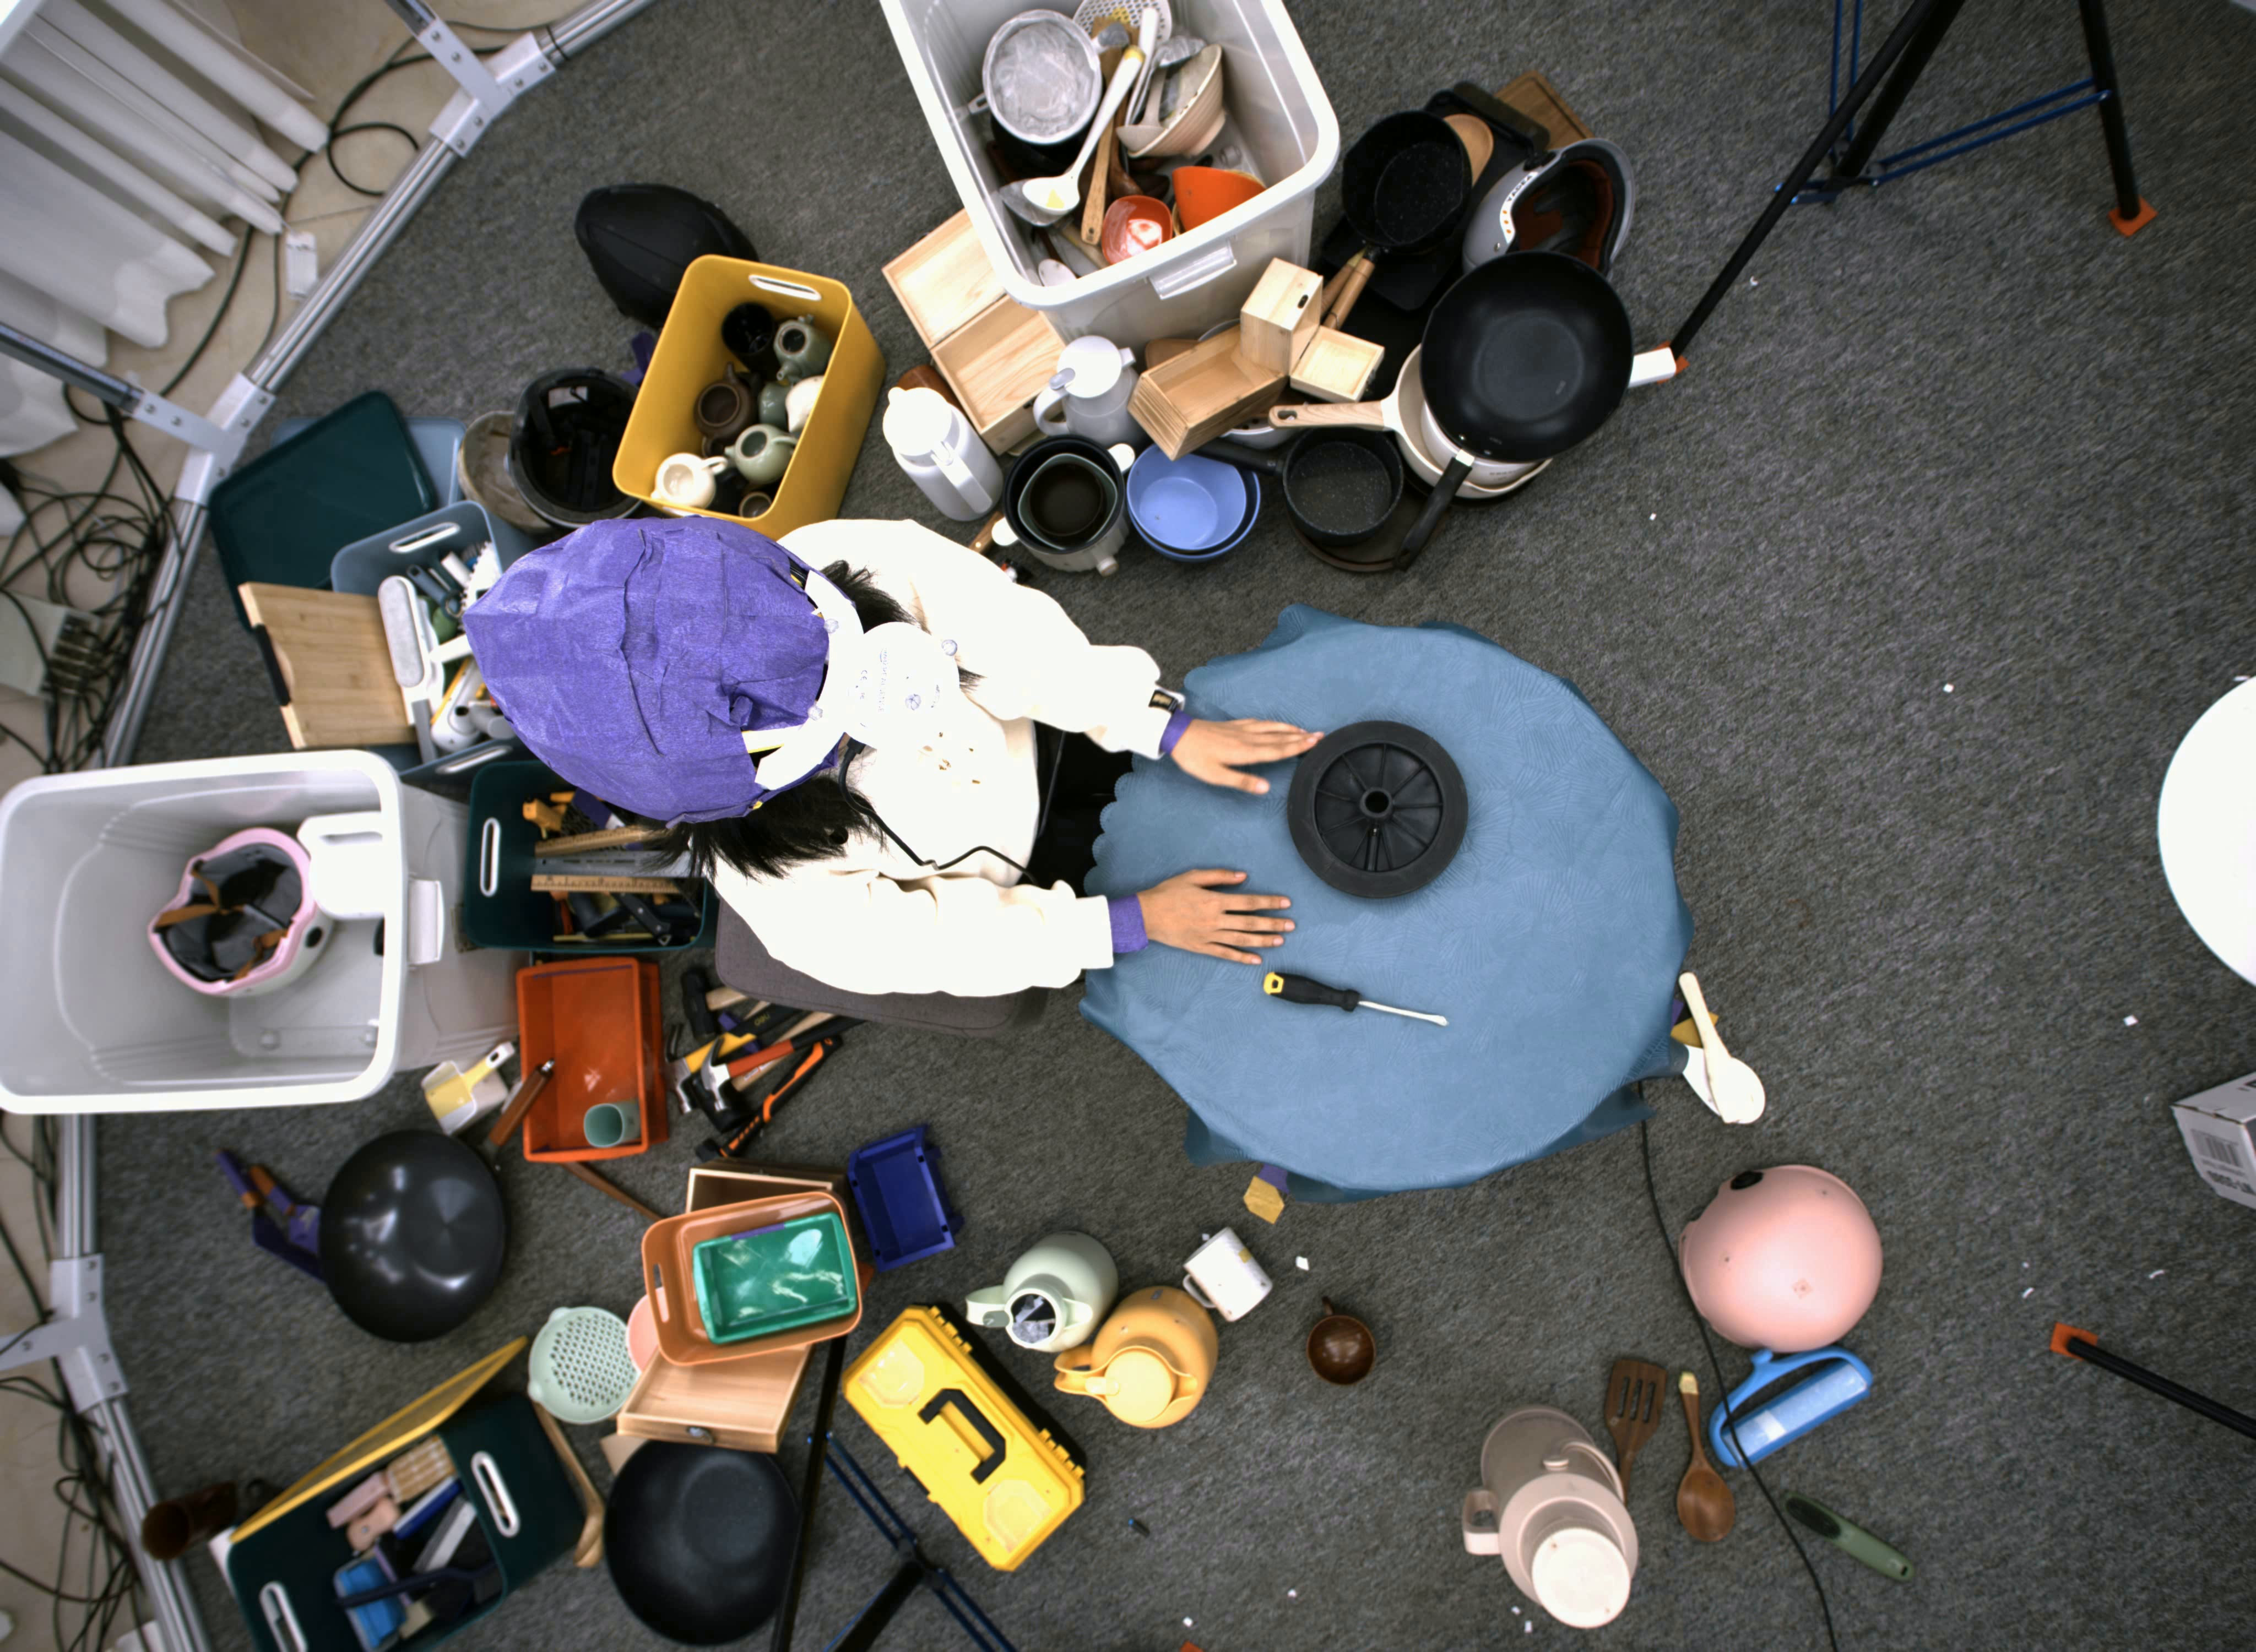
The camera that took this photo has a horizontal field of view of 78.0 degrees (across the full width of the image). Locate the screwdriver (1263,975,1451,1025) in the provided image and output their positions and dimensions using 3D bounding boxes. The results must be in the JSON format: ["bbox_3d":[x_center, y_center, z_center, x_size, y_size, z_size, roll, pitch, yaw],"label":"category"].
[{"bbox_3d":[0.238,0.187,1.447,0.198,0.031,0.031,13,87,8],"label":"screwdriver"}]

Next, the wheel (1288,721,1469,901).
[{"bbox_3d":[0.259,-0.018,1.430,0.188,0.079,0.189,-17,87,9],"label":"wheel"}]
